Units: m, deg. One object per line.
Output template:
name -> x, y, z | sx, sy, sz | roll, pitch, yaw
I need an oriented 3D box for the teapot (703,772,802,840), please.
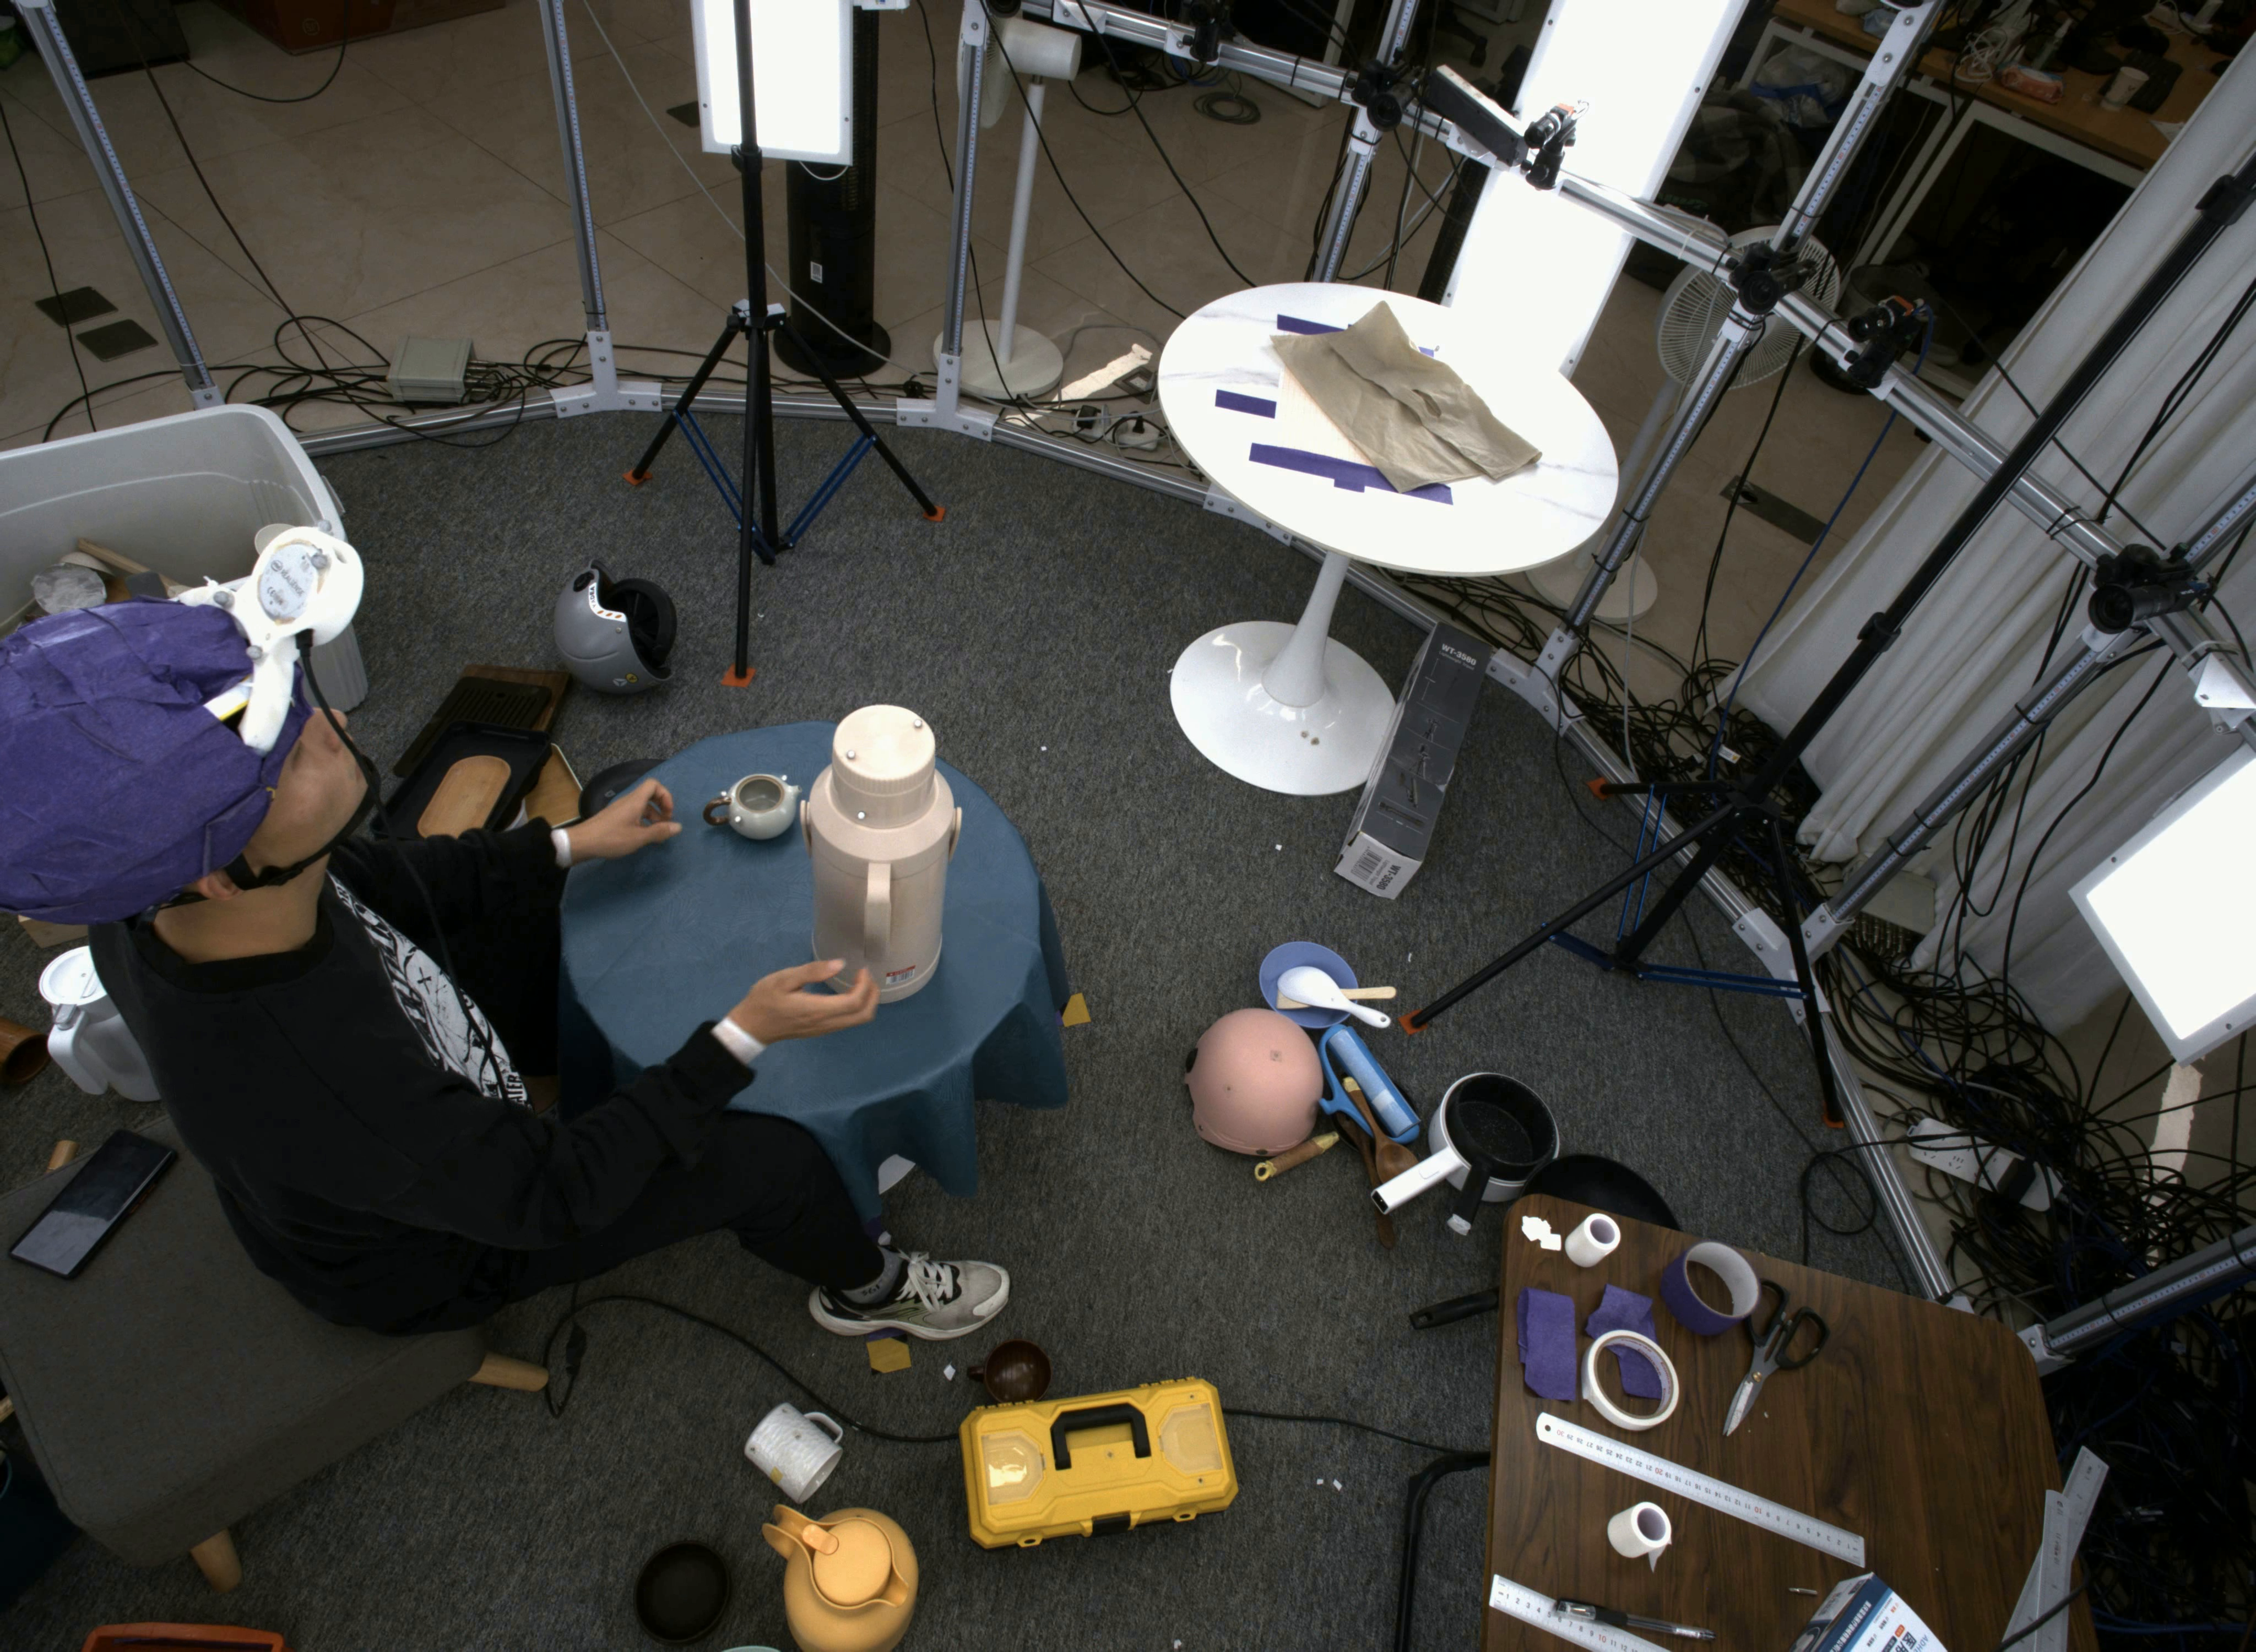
teapot -> -0.489, -0.026, 1.685 | 0.129, 0.060, 0.090 | -12, 61, -23

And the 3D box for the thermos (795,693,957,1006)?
thermos -> -0.286, 0.042, 1.470 | 0.175, 0.415, 0.202 | 1, 51, -12
